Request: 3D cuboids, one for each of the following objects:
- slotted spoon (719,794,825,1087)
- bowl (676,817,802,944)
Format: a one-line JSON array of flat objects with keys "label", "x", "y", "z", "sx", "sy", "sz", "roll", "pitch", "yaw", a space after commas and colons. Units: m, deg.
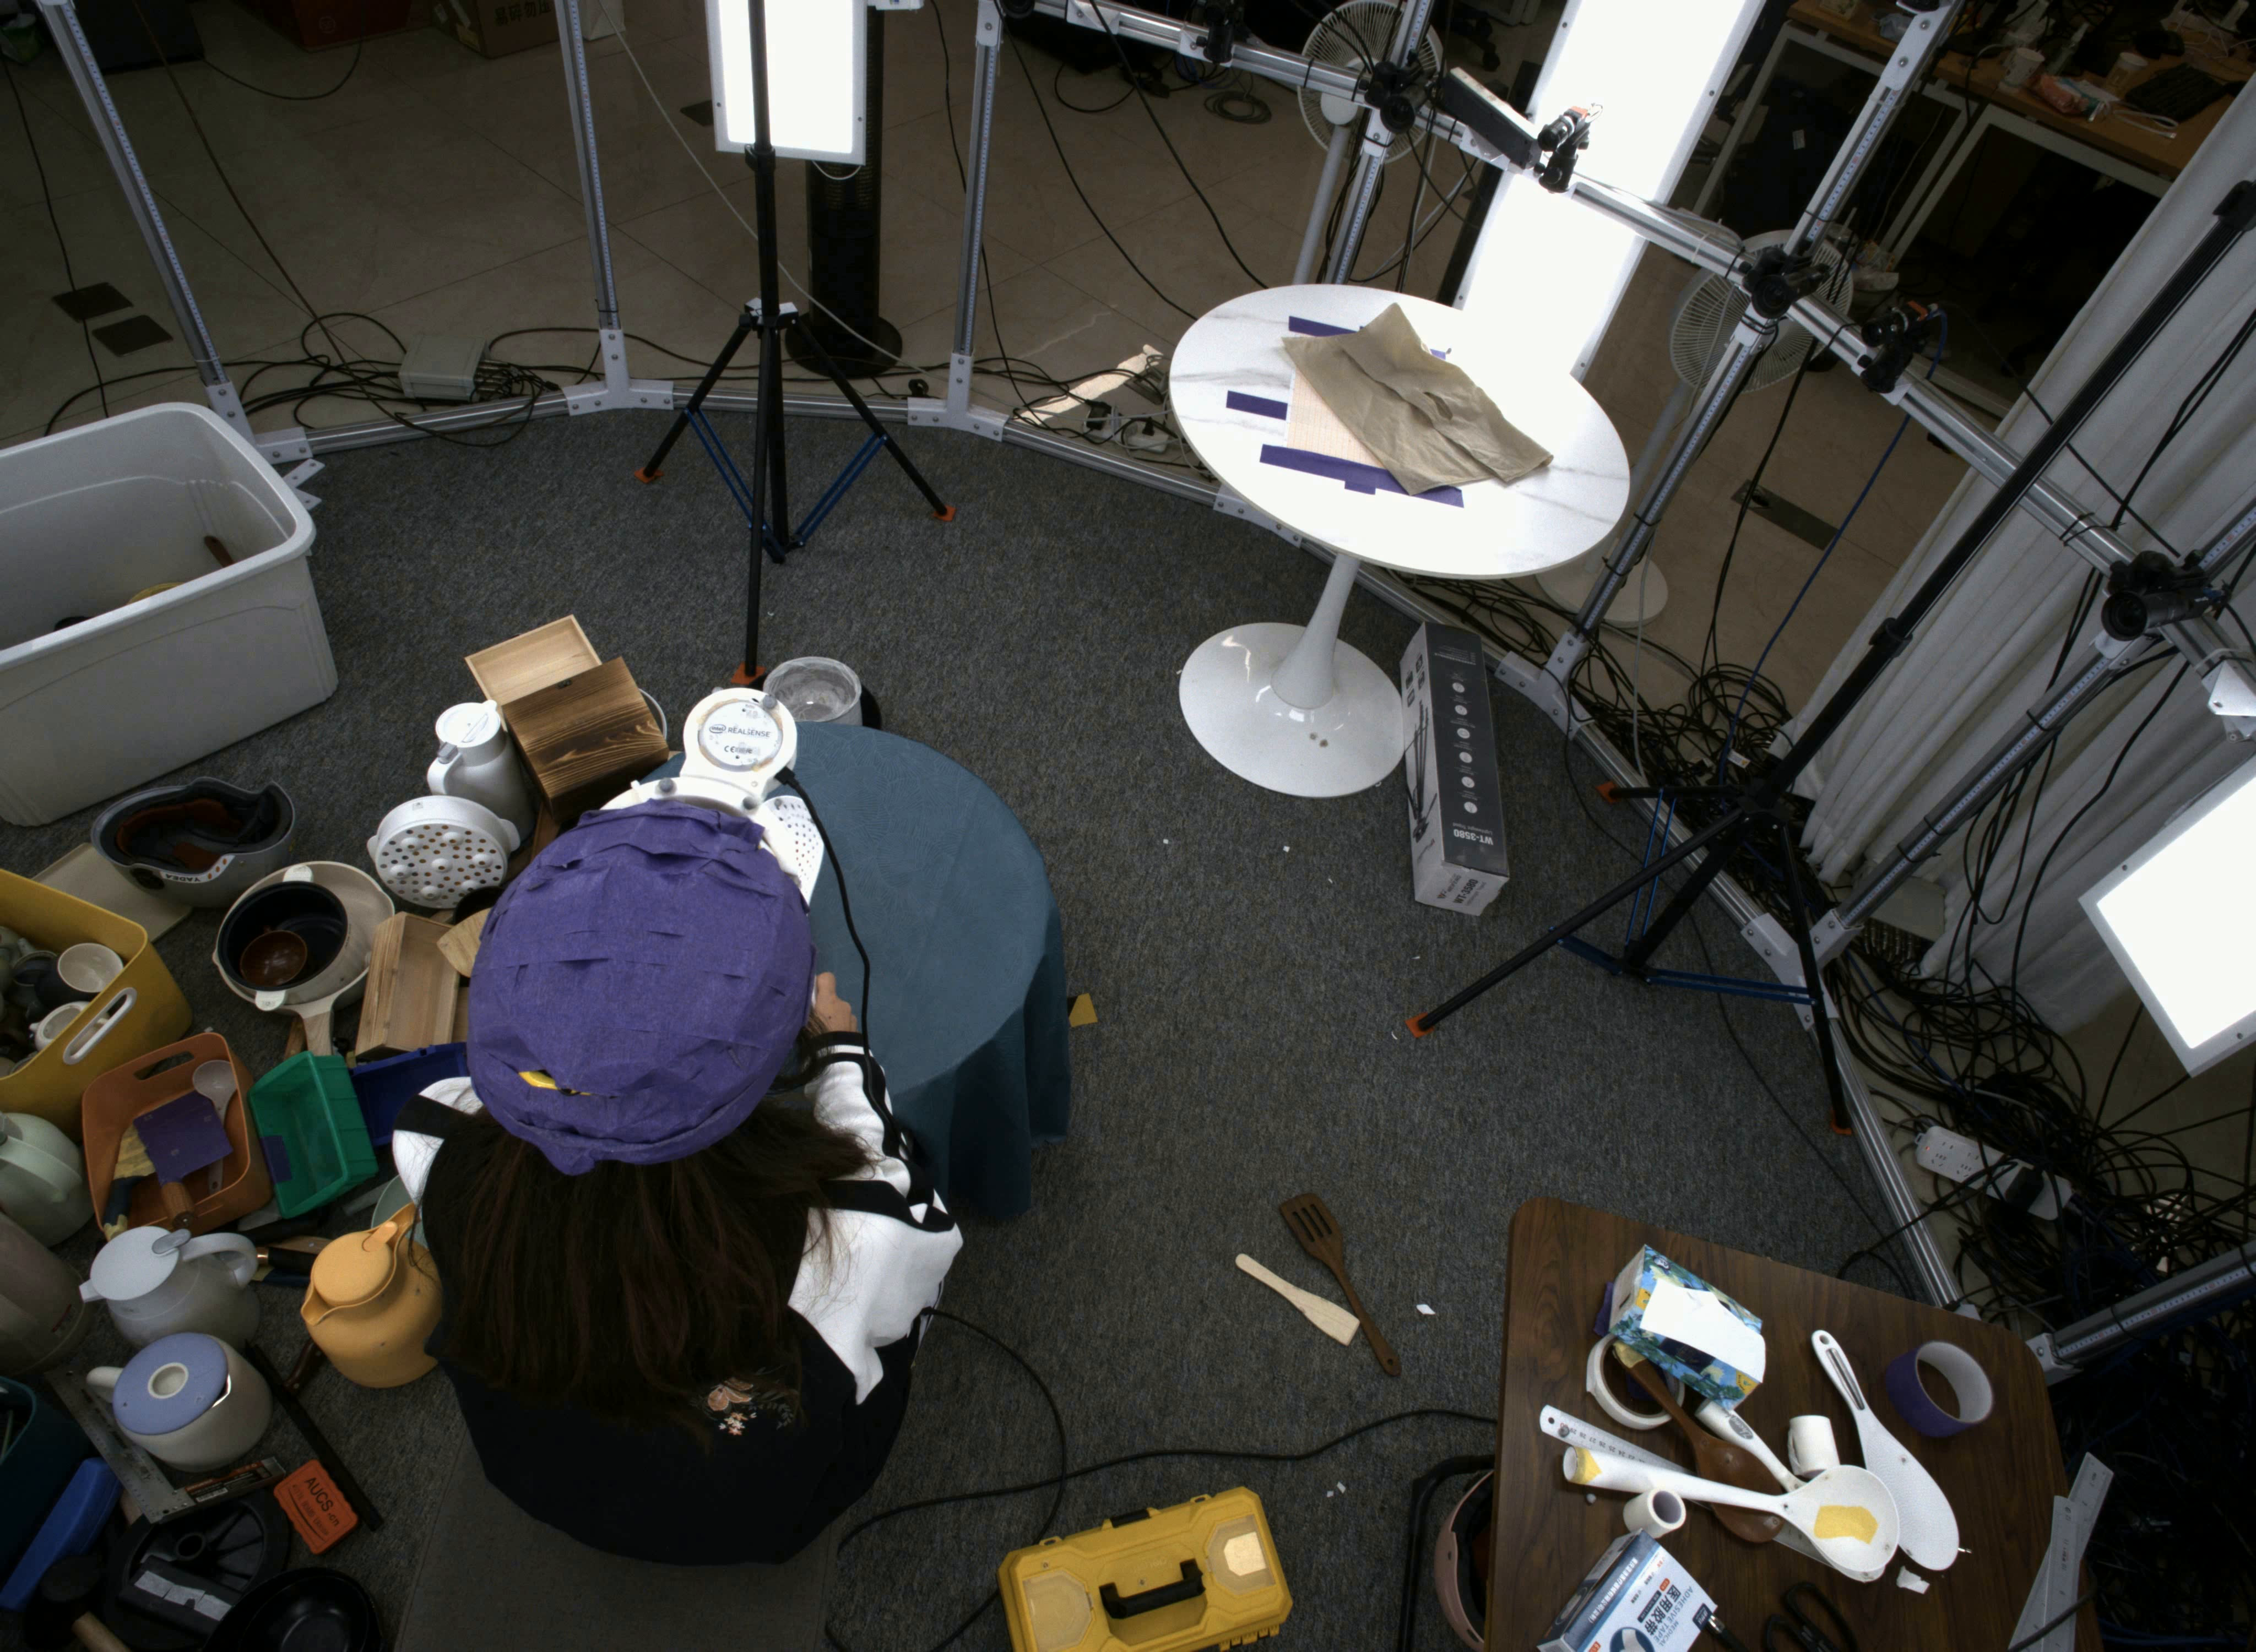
[{"label": "slotted spoon", "x": -0.392, "y": 0.125, "z": 1.481, "sx": 0.134, "sy": 0.047, "sz": 0.344, "roll": -24, "pitch": 64, "yaw": 17}, {"label": "bowl", "x": -0.471, "y": 0.076, "z": 1.573, "sx": 0.148, "sy": 0.106, "sz": 0.145, "roll": 10, "pitch": 49, "yaw": -10}]
